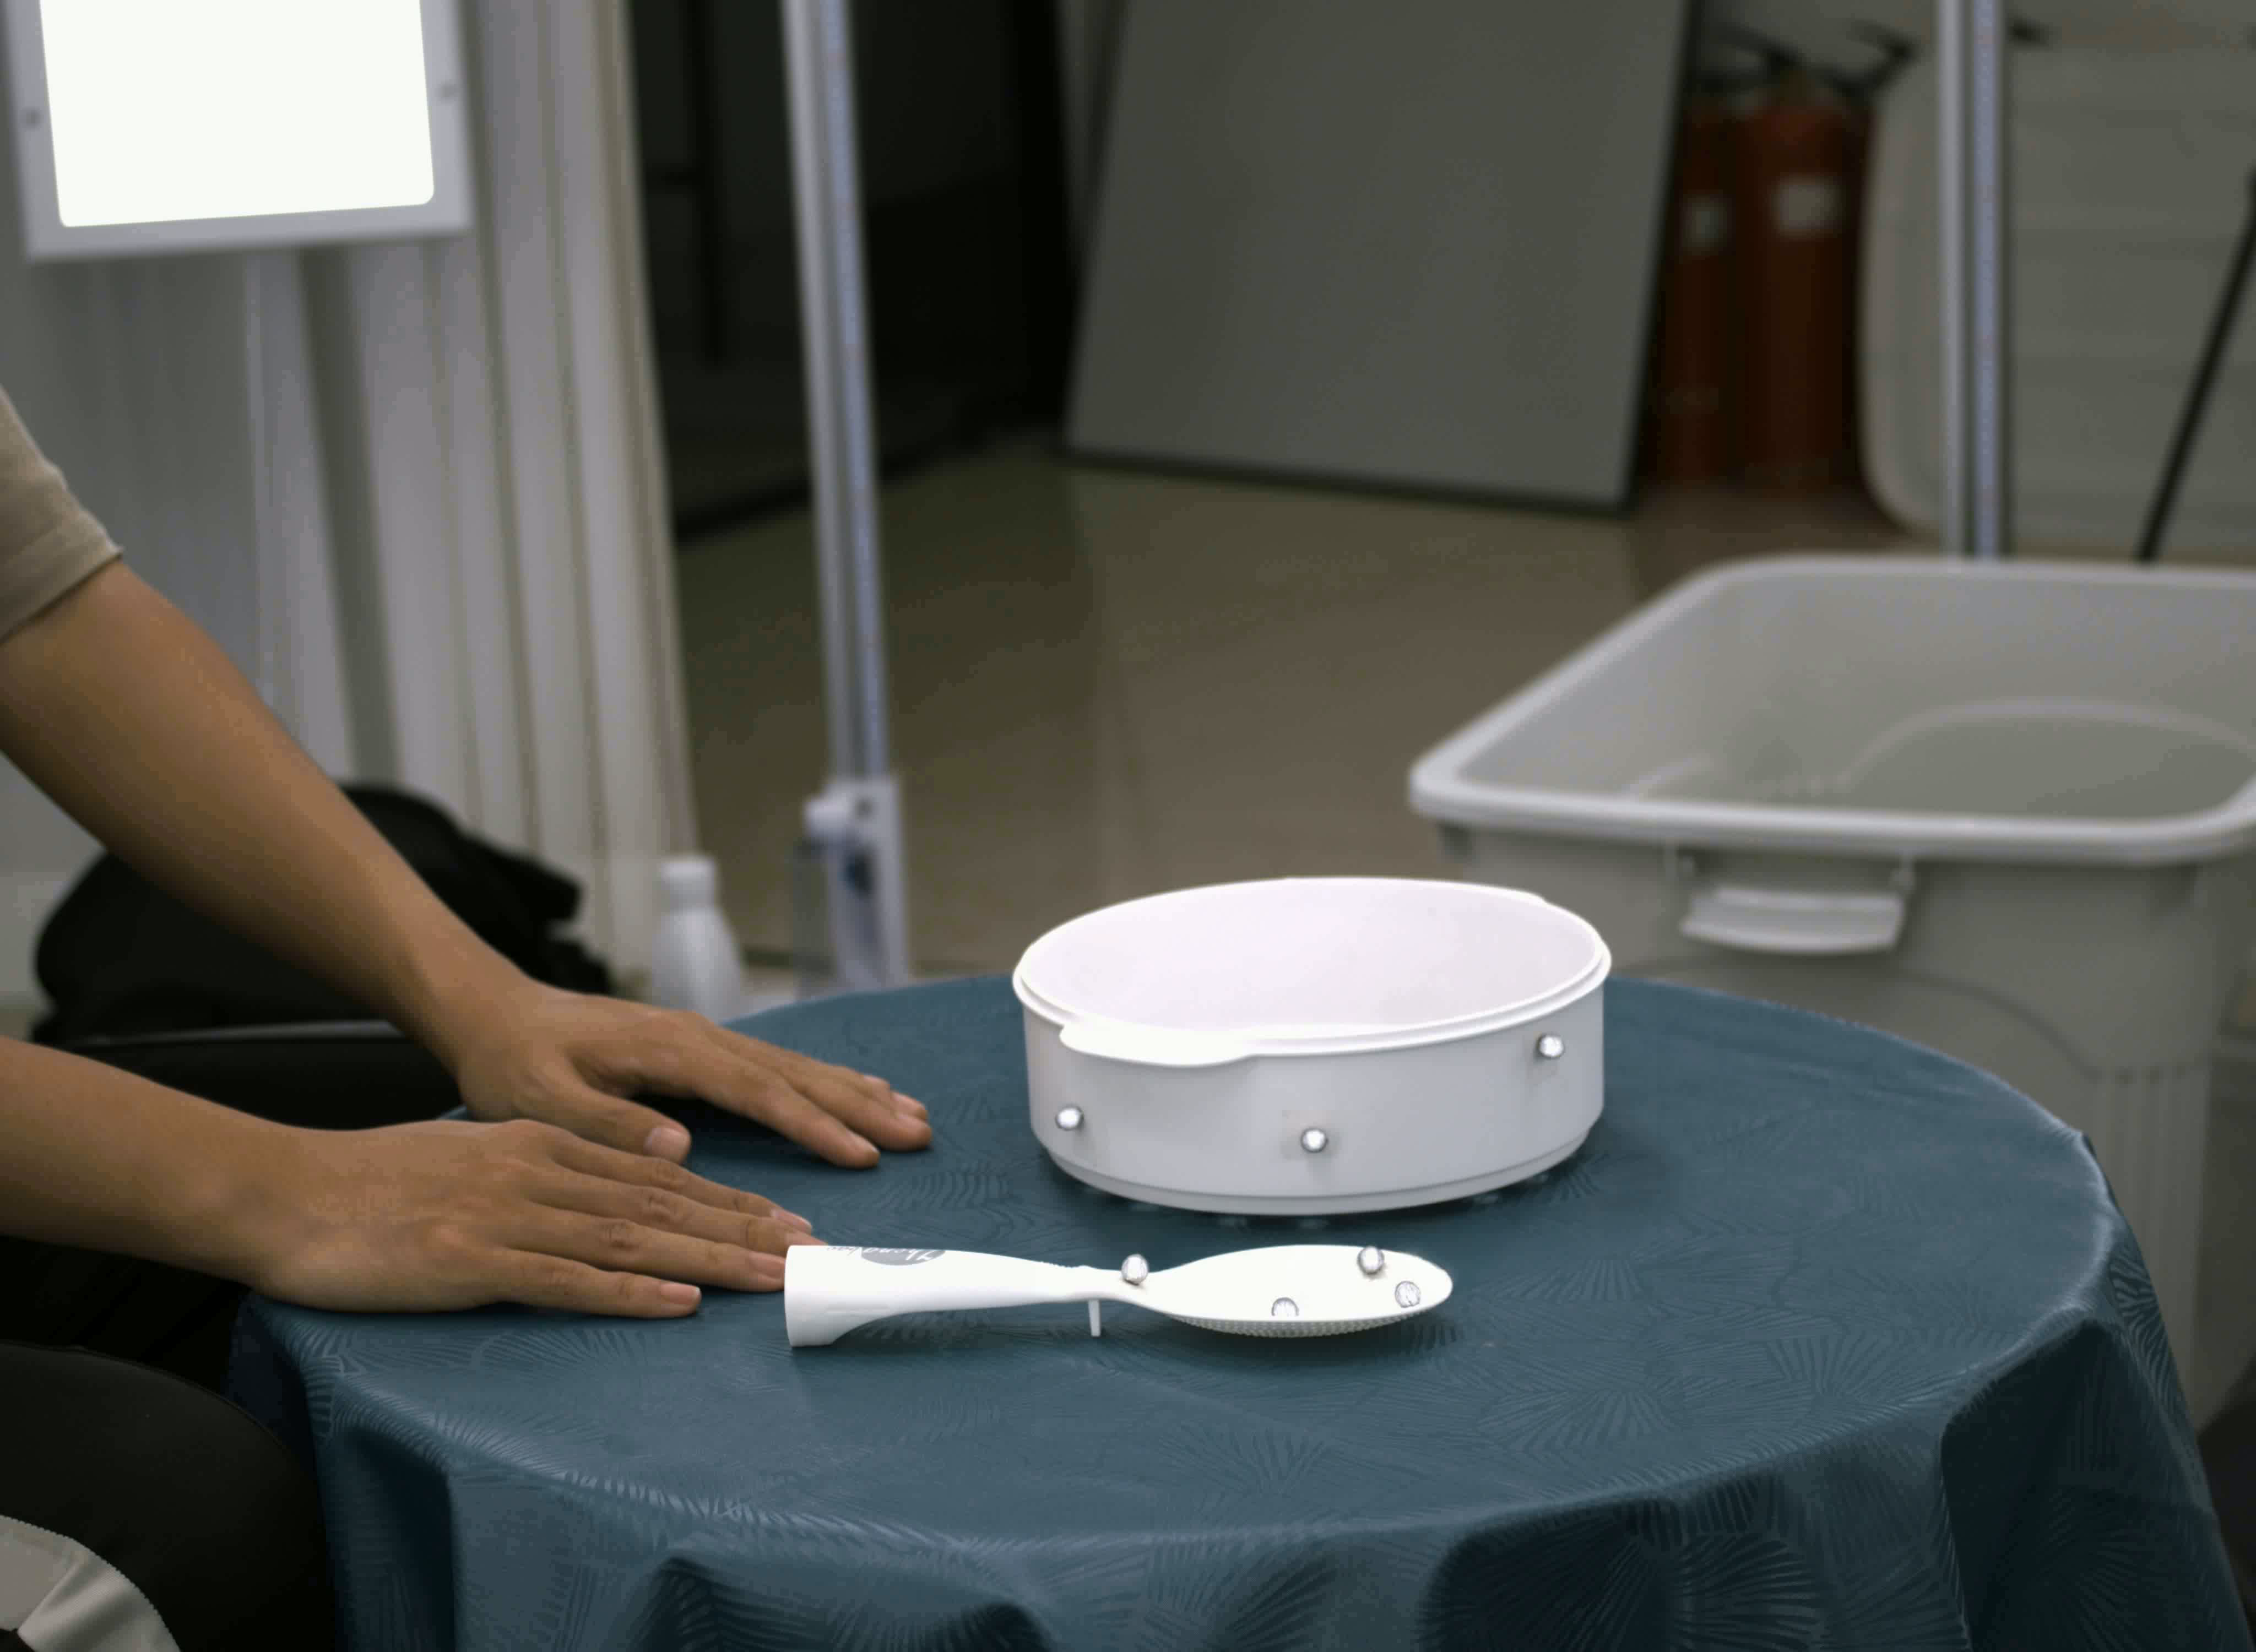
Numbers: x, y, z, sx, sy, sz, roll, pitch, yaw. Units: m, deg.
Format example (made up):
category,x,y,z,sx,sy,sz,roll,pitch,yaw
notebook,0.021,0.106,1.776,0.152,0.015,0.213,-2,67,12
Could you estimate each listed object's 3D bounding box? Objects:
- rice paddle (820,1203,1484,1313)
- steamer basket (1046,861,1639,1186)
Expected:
category,x,y,z,sx,sy,sz,roll,pitch,yaw
rice paddle,0.008,0.129,1.648,0.203,0.030,0.068,-2,15,6
steamer basket,0.073,0.067,1.814,0.203,0.070,0.226,7,15,35
